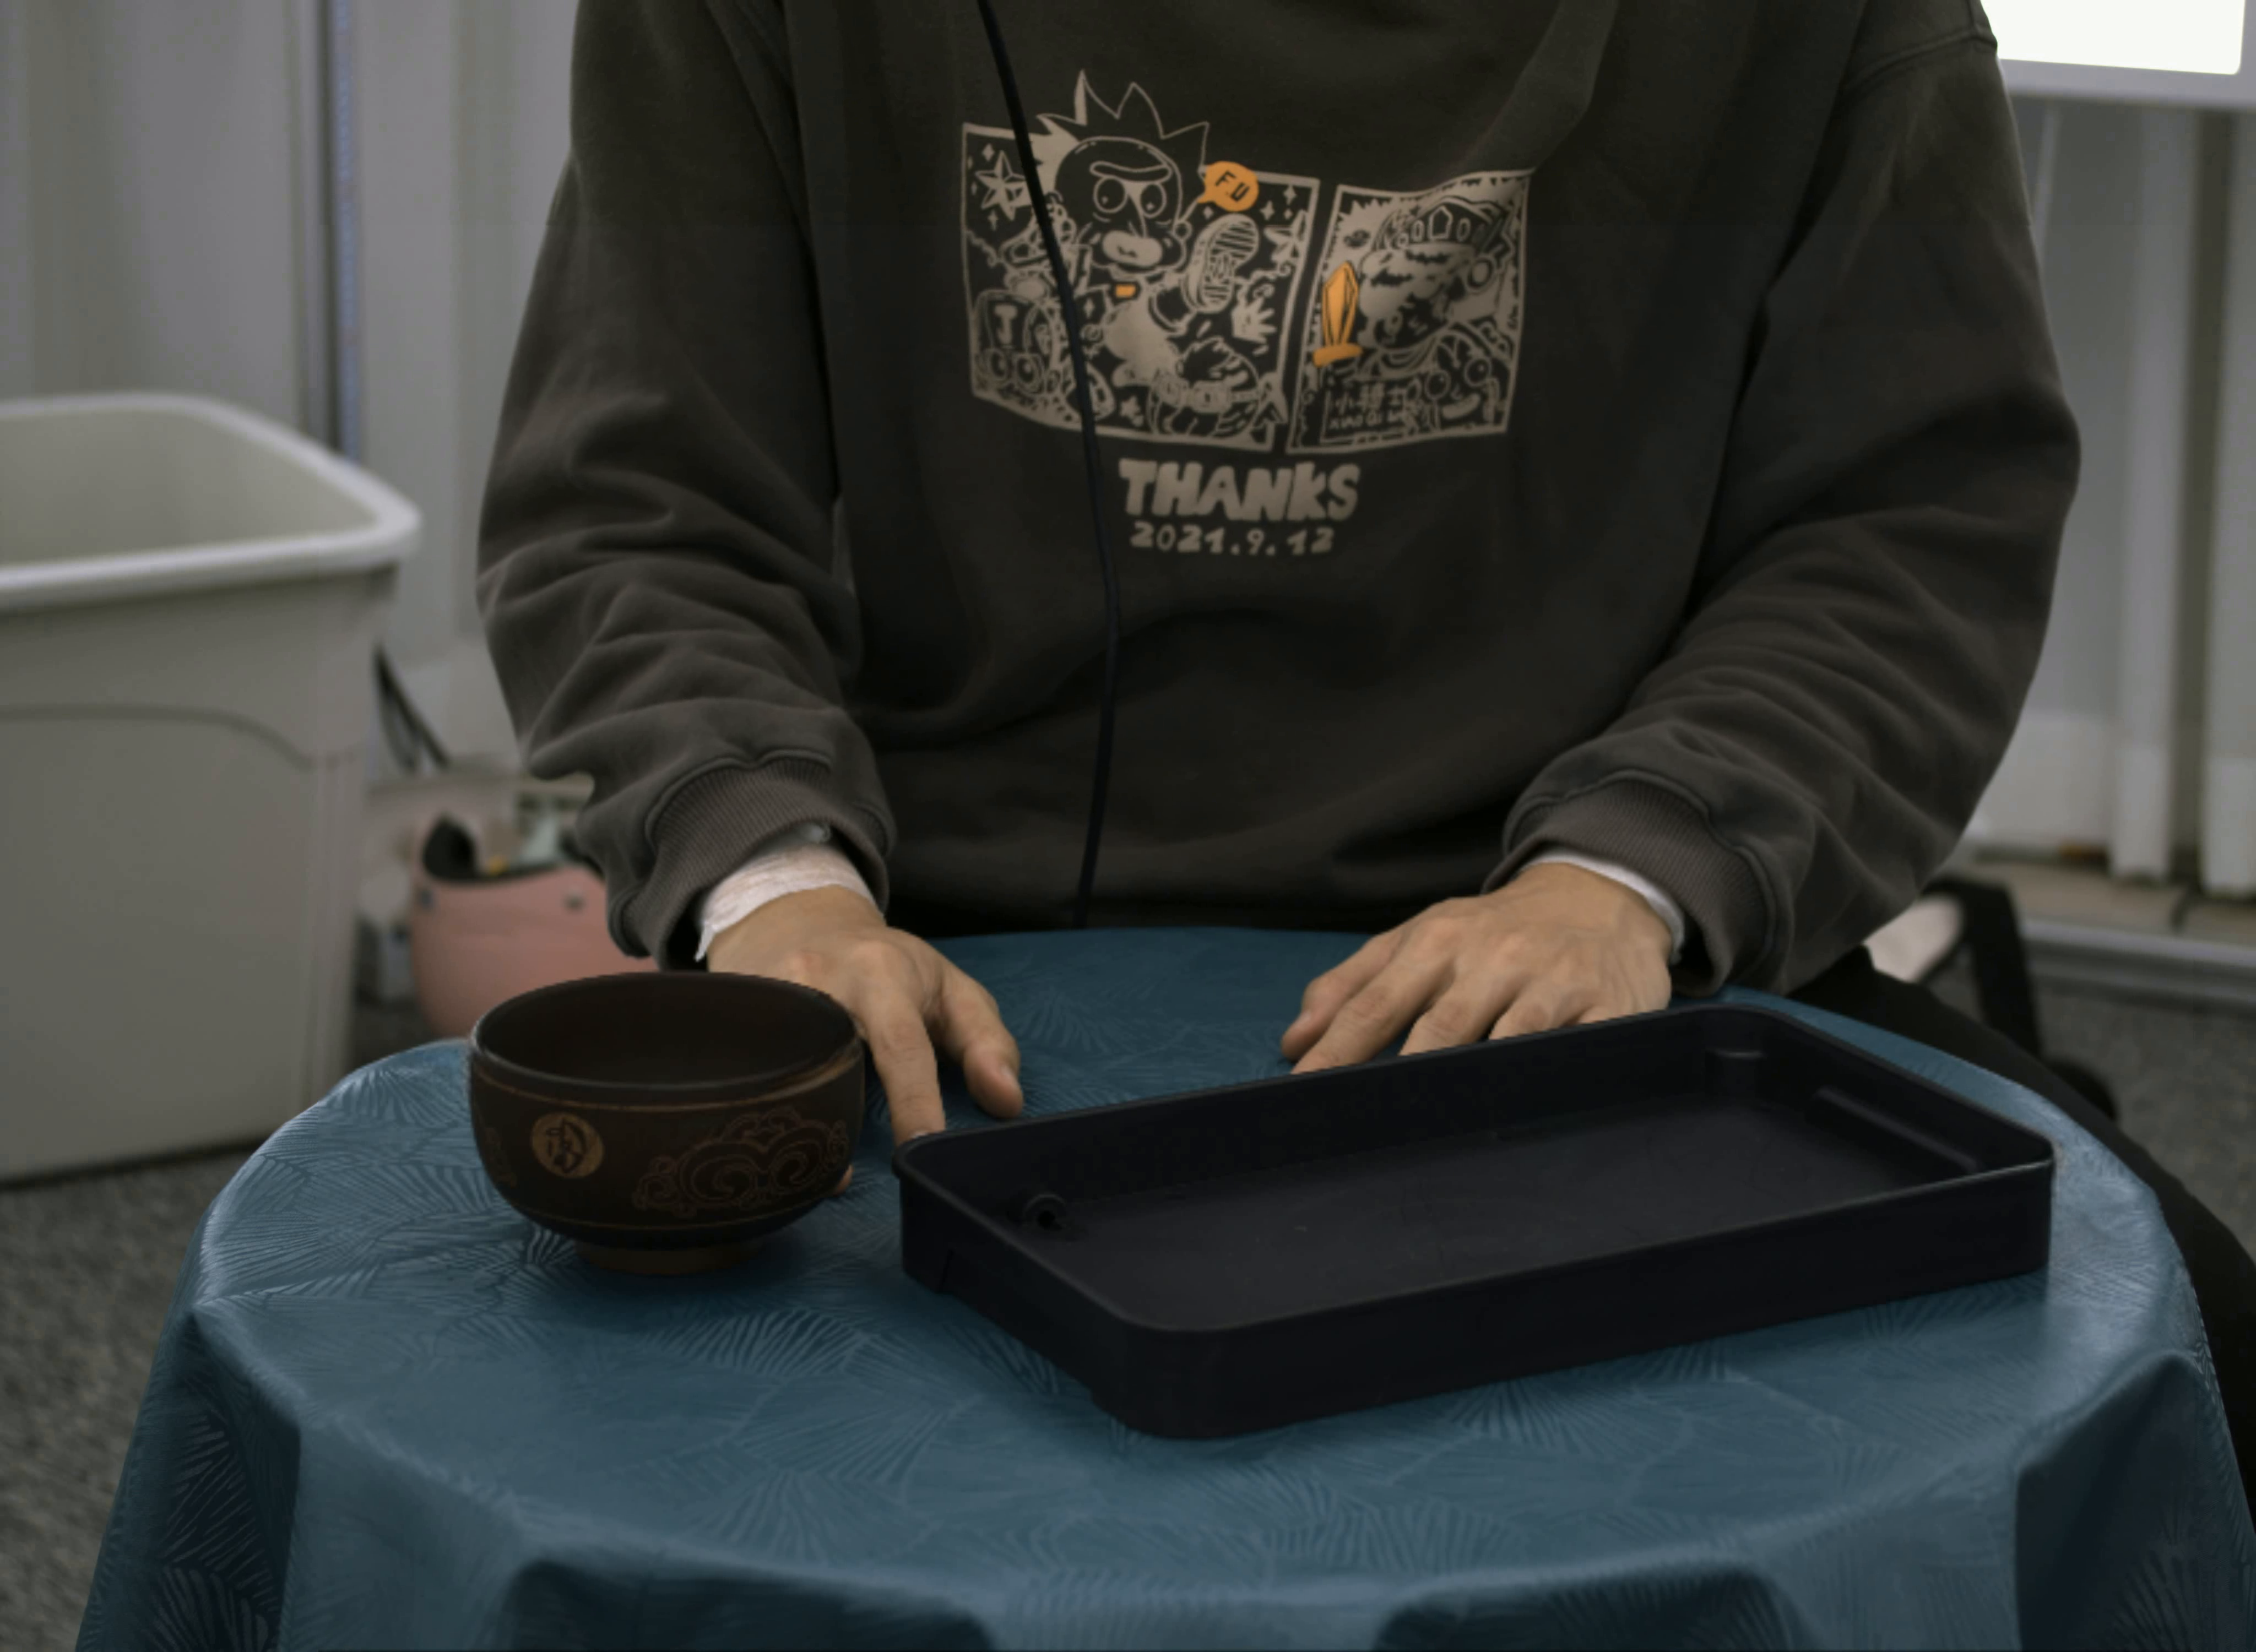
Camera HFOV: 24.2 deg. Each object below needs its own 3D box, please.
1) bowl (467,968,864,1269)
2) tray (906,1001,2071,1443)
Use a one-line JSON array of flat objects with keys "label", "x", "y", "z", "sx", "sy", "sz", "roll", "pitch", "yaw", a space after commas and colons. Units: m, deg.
[{"label": "bowl", "x": -0.137, "y": 0.090, "z": 1.570, "sx": 0.117, "sy": 0.070, "sz": 0.117, "roll": 1, "pitch": 14, "yaw": 0}, {"label": "tray", "x": 0.108, "y": 0.112, "z": 1.570, "sx": 0.319, "sy": 0.037, "sz": 0.182, "roll": -9, "pitch": 18, "yaw": -30}]
